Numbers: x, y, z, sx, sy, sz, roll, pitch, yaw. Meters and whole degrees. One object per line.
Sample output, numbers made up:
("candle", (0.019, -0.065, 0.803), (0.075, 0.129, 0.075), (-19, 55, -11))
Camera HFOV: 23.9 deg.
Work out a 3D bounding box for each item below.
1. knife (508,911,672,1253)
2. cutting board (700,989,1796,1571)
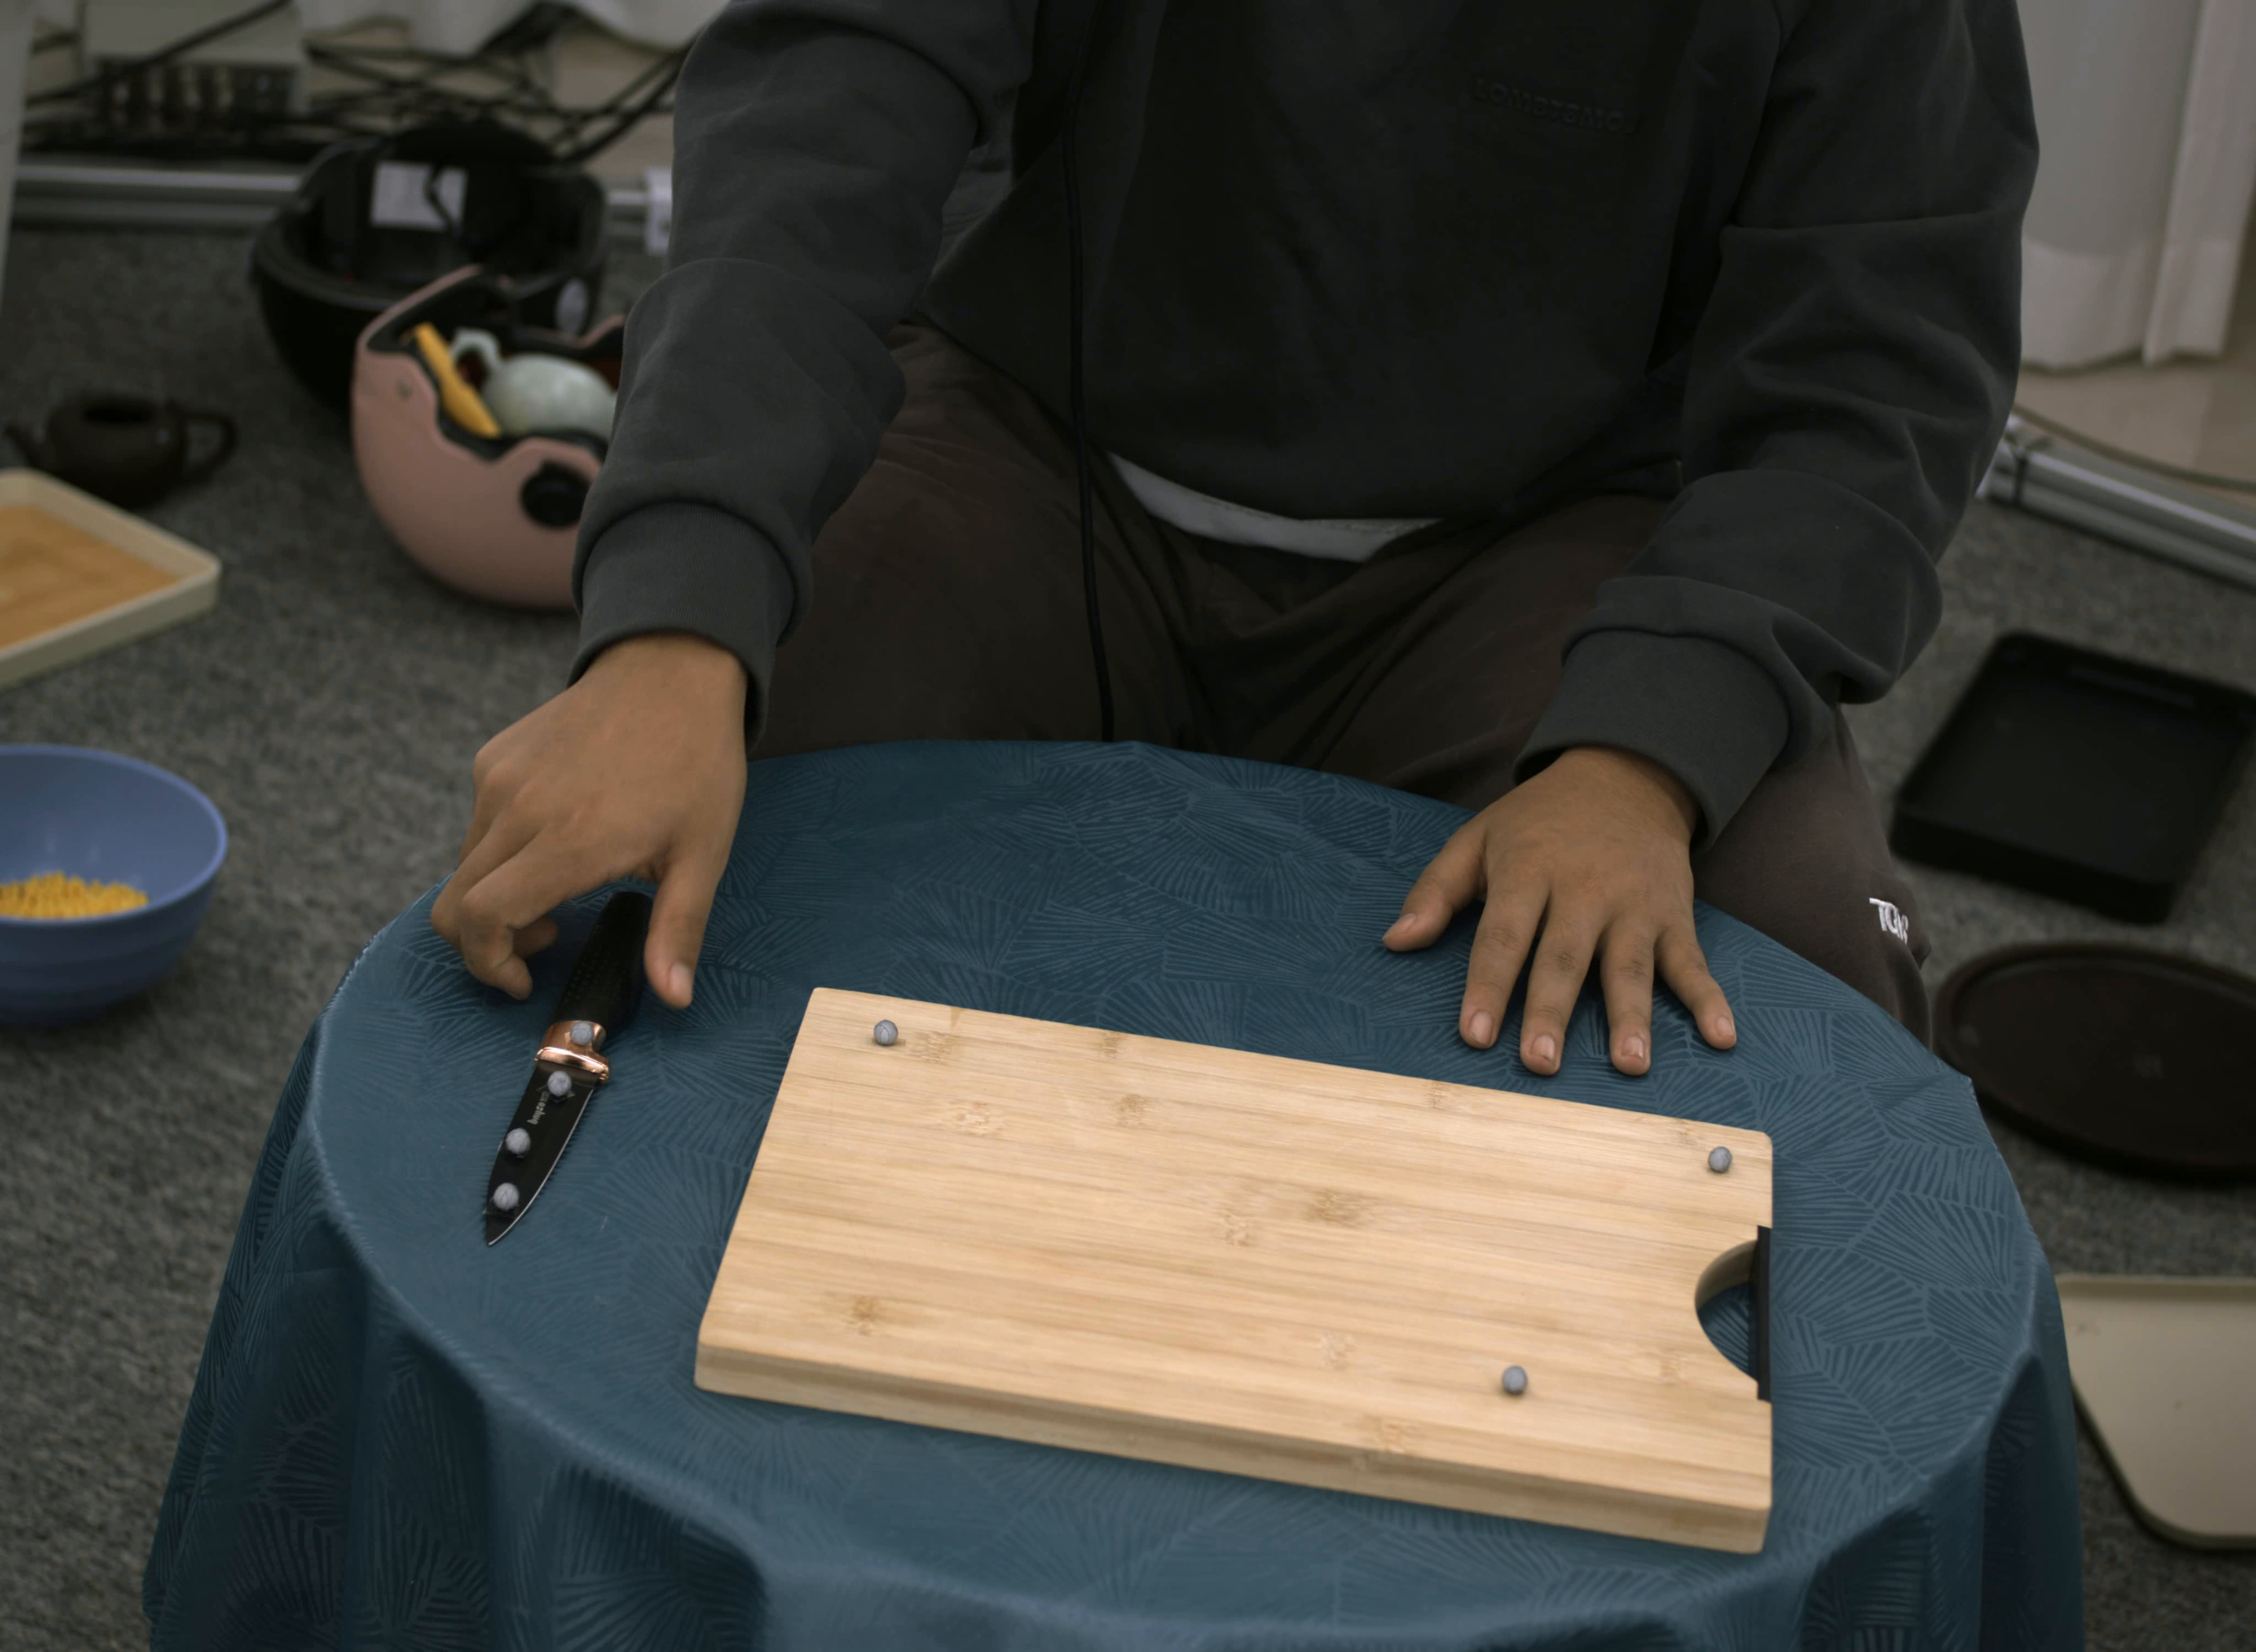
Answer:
("knife", (-0.188, 0.086, 1.825), (0.026, 0.017, 0.226), (15, 28, 1))
("cutting board", (0.048, 0.144, 1.760), (0.348, 0.023, 0.252), (8, 27, 3))
